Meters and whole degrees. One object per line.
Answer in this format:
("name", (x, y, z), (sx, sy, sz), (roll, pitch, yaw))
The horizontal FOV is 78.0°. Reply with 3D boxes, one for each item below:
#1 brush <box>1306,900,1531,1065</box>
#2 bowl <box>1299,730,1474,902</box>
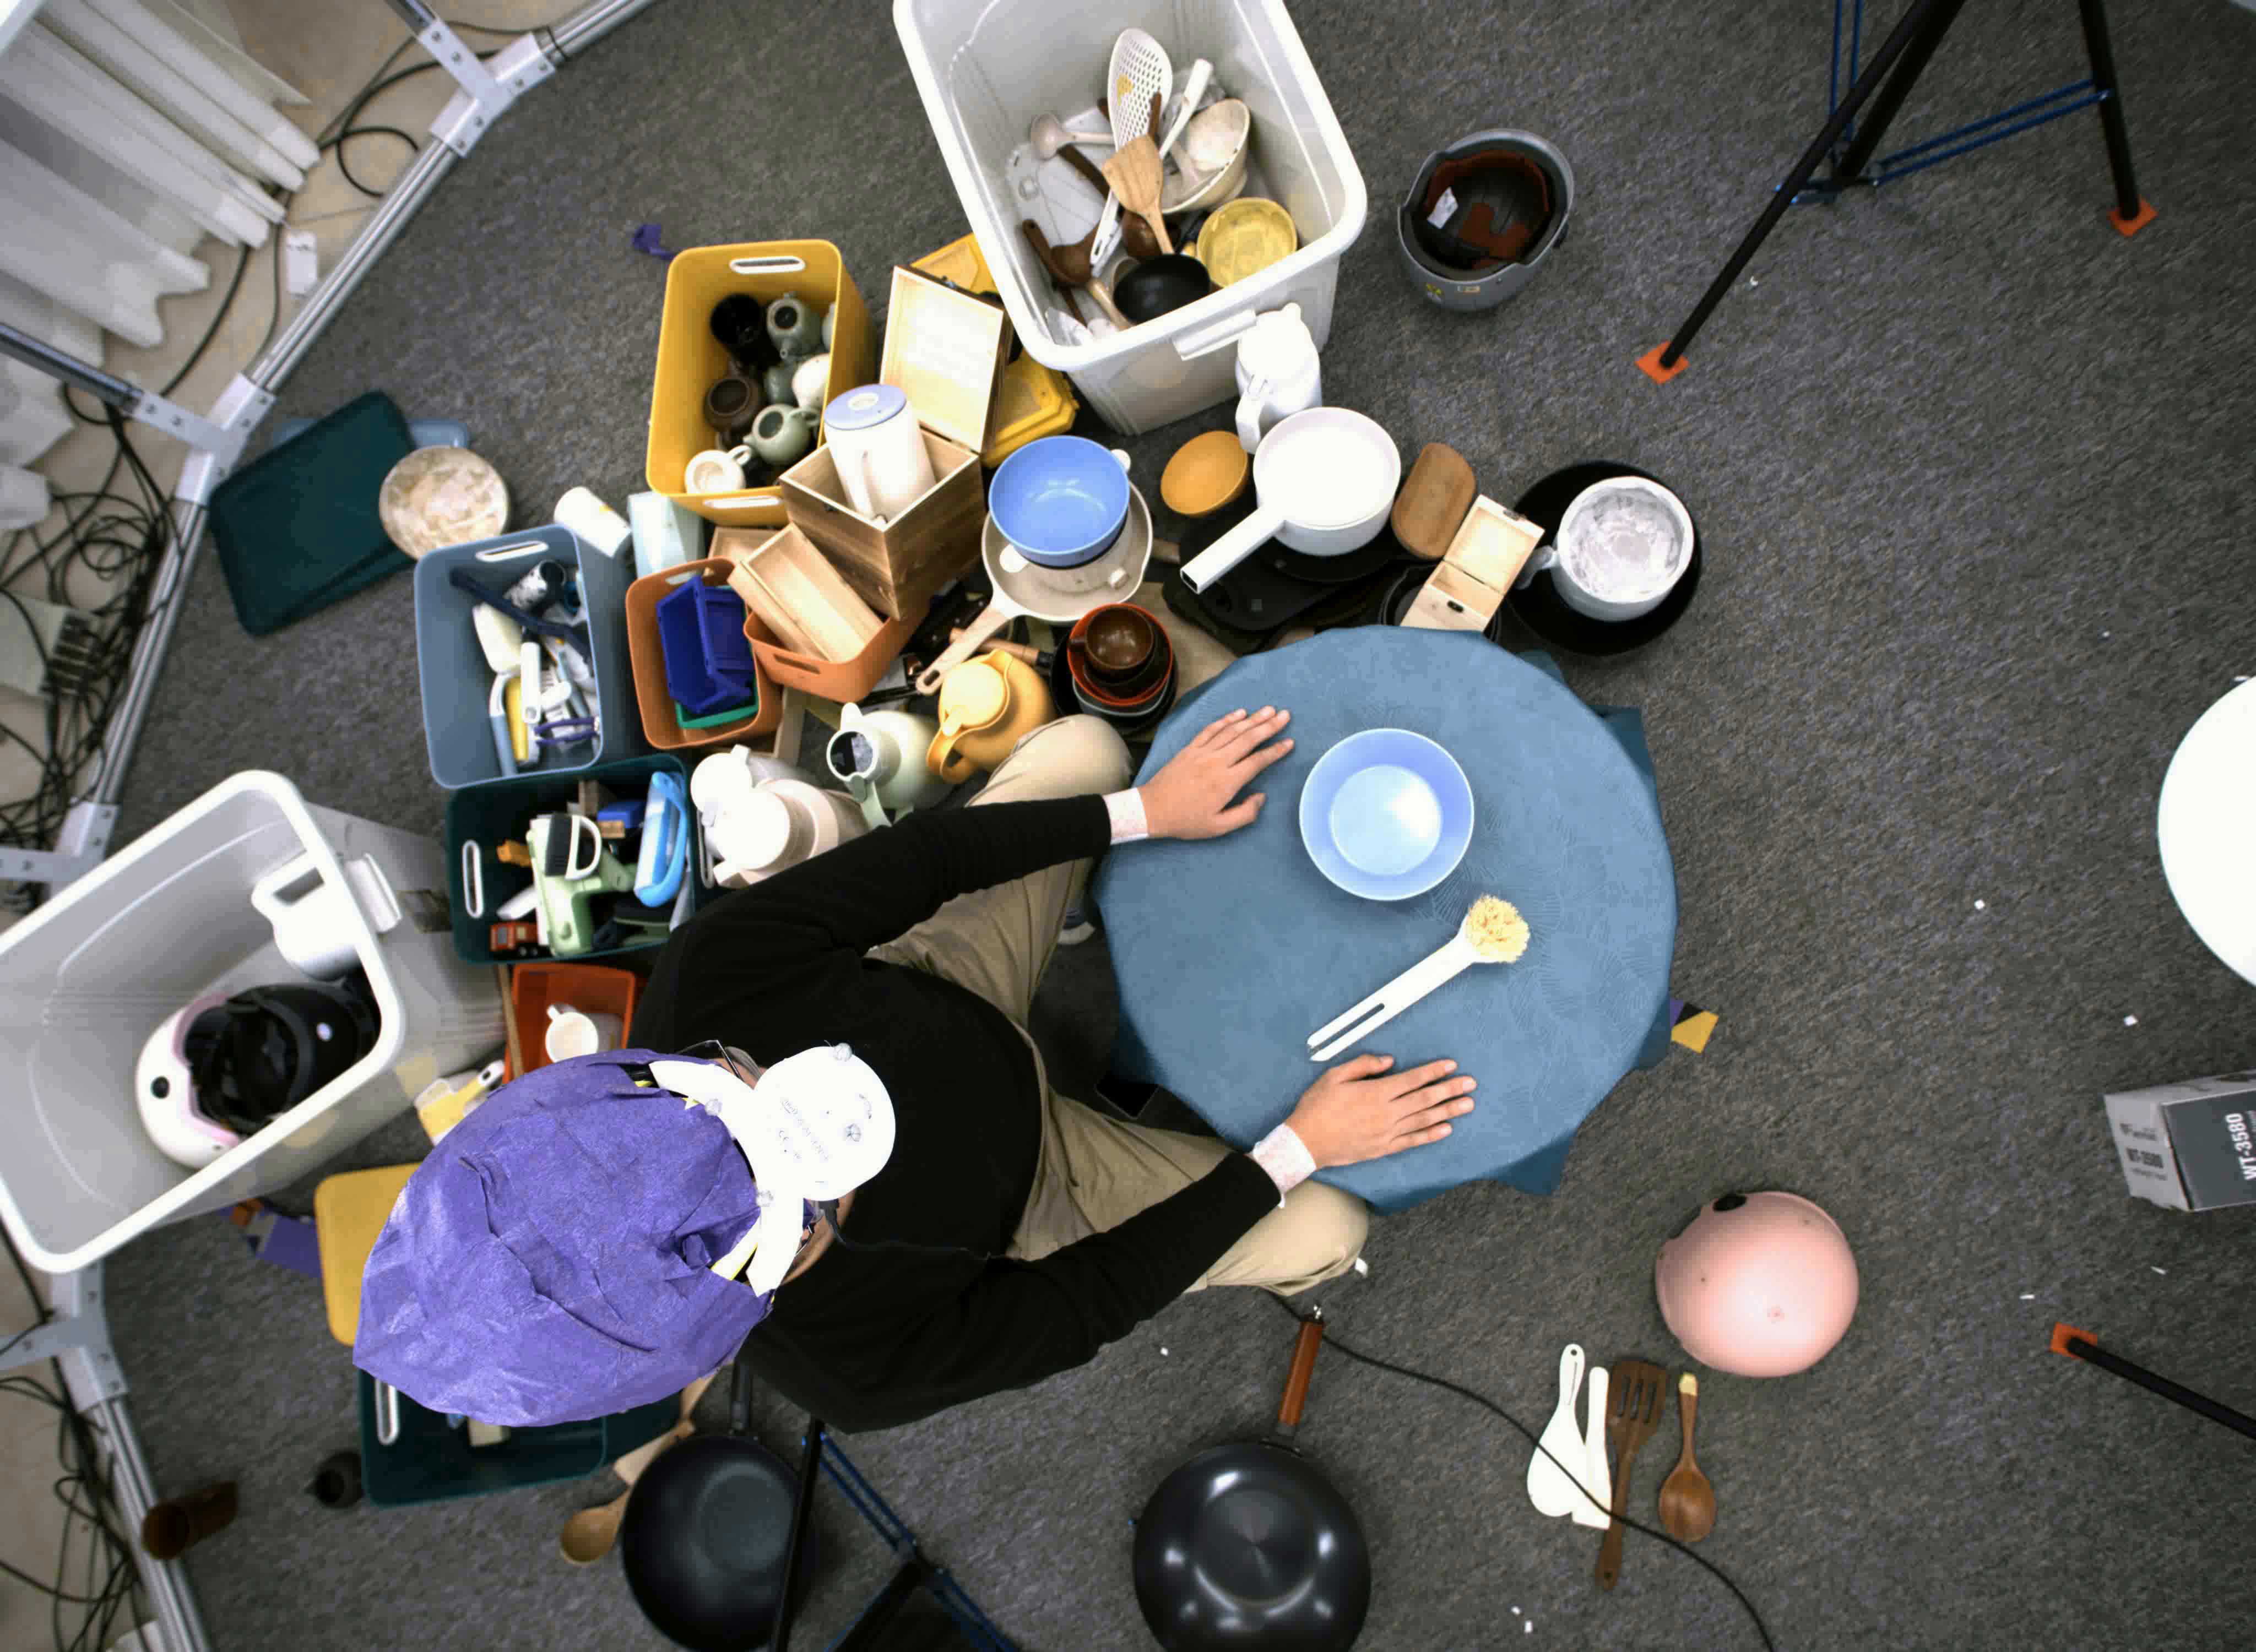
("brush", (0.295, 0.167, 1.423), (0.268, 0.056, 0.068), (-34, 76, 8))
("bowl", (0.268, -0.009, 1.428), (0.177, 0.070, 0.175), (-1, 86, 12))
